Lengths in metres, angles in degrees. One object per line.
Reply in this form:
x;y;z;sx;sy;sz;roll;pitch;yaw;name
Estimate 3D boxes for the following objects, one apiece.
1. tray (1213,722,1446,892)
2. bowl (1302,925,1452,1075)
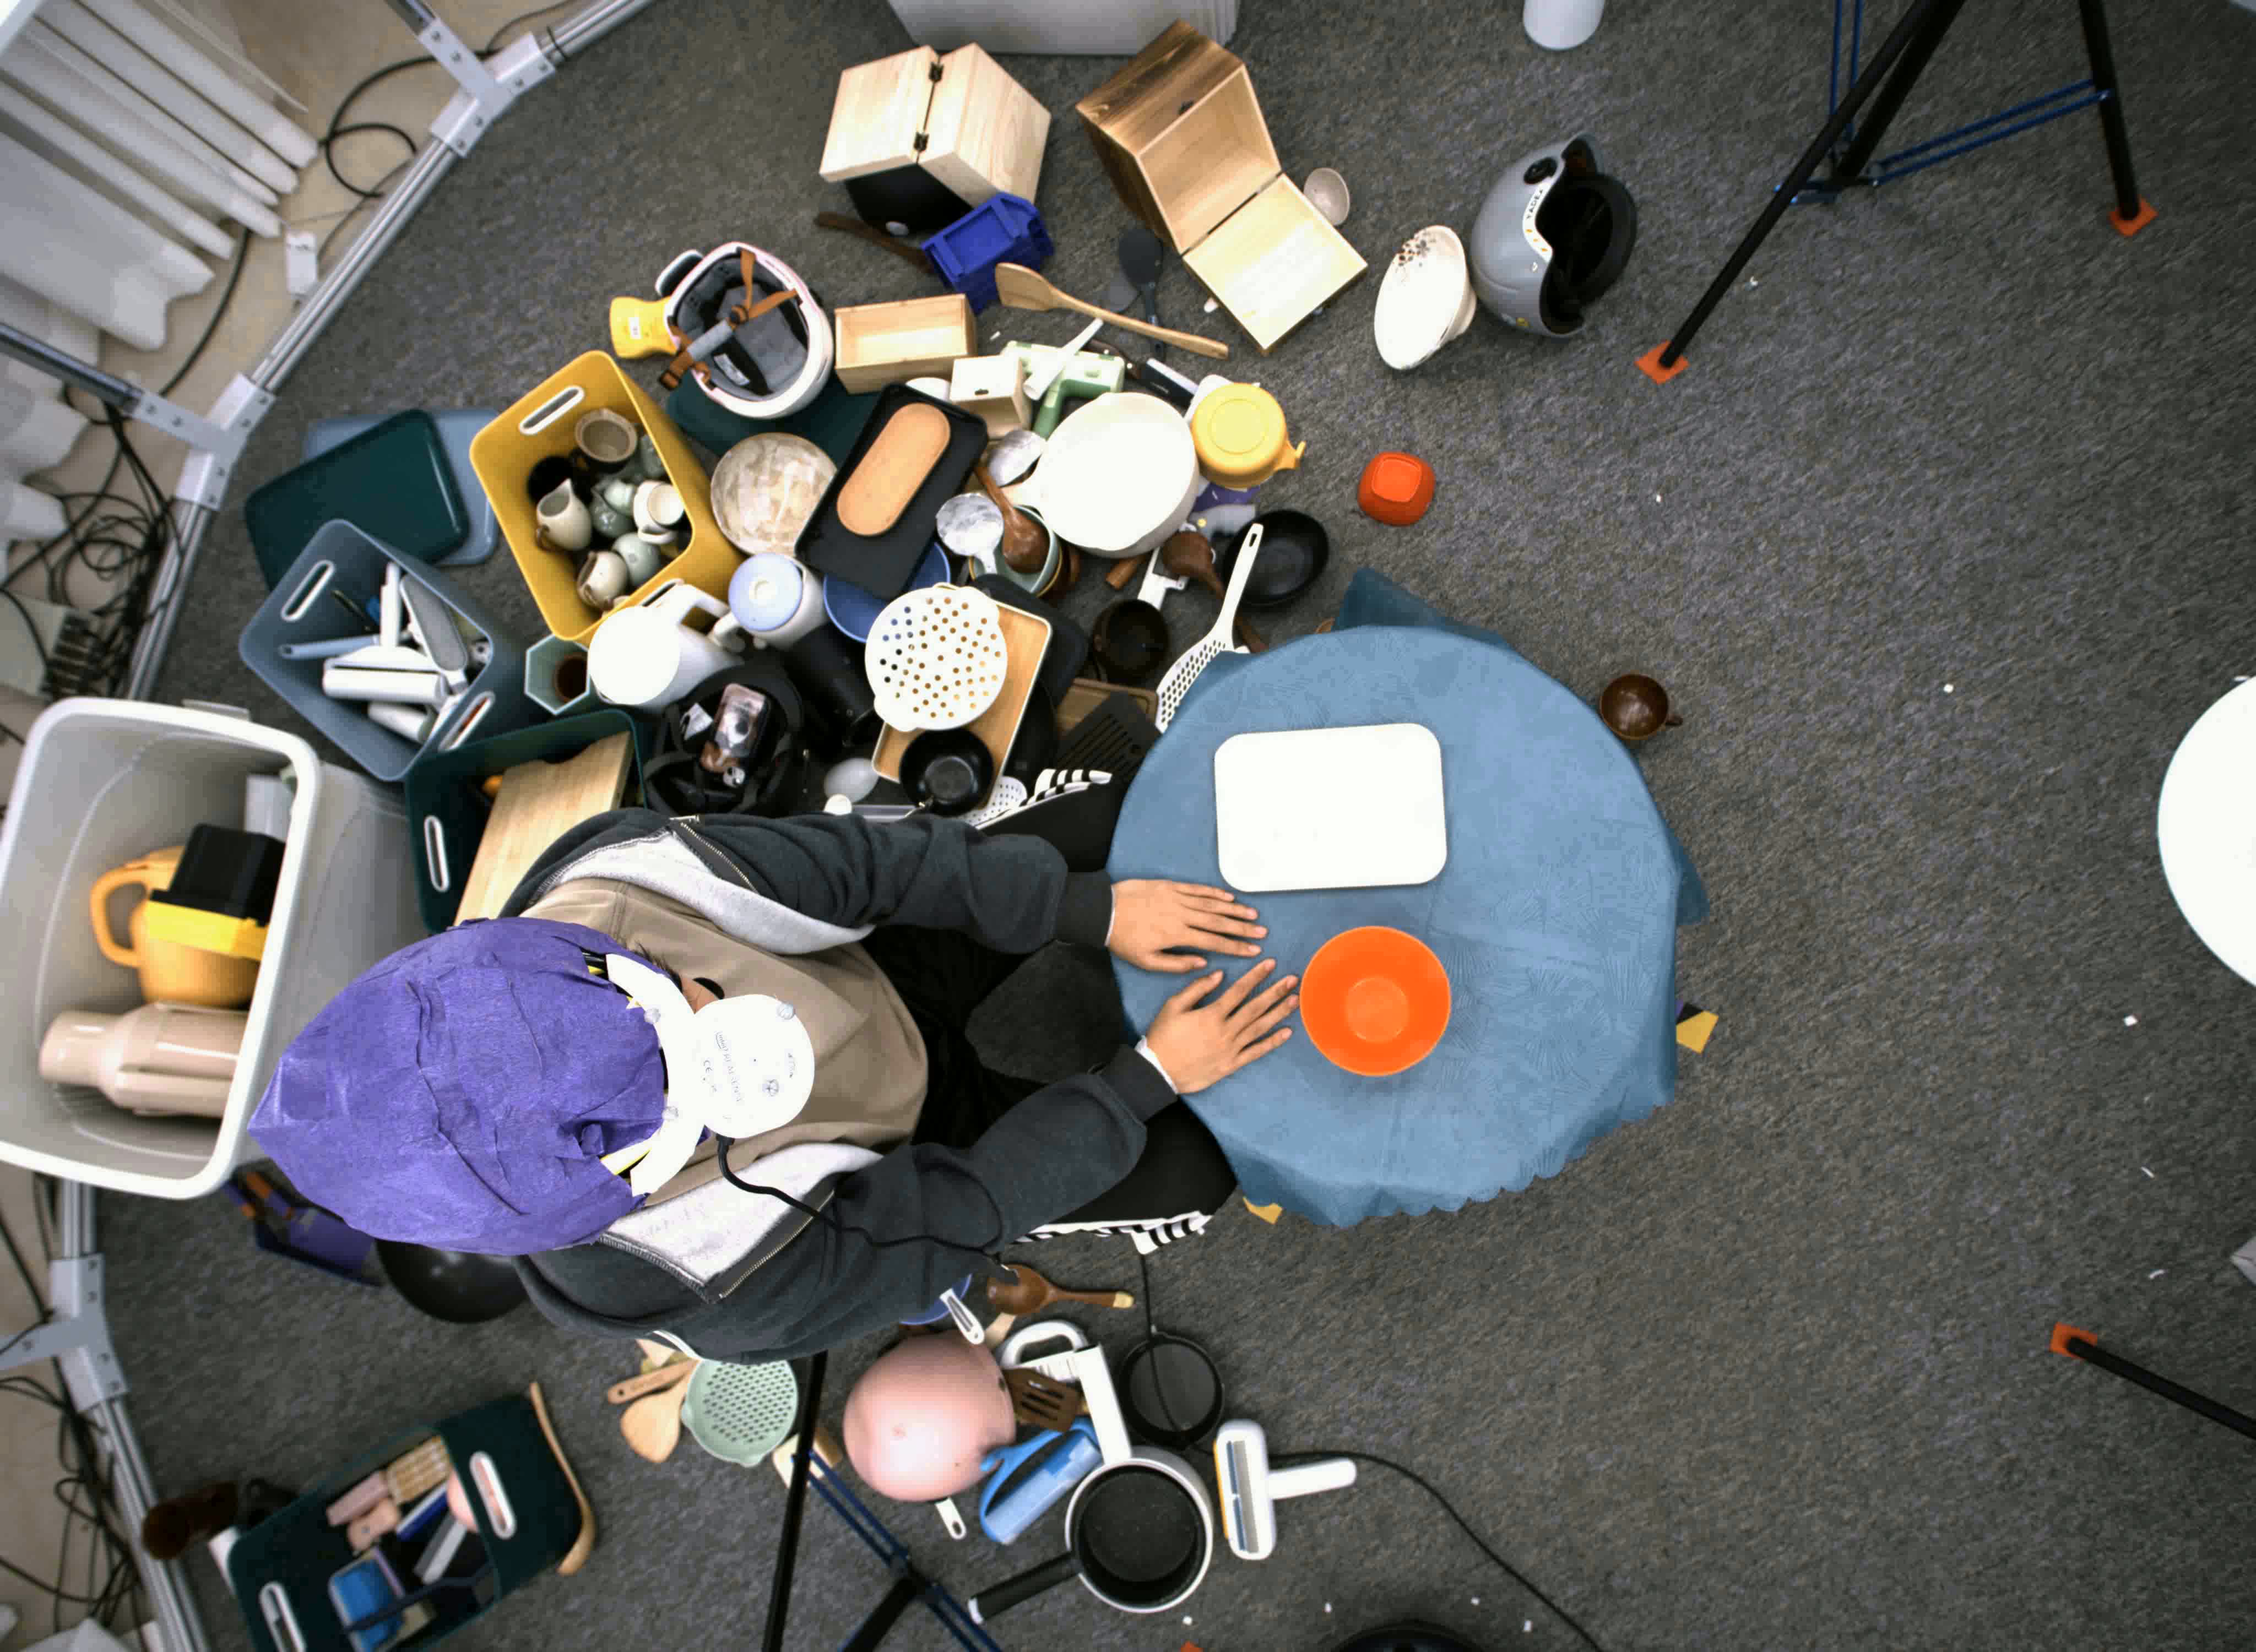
0.213;-0.020;1.466;0.241;0.017;0.170;-3;87;10;tray
0.251;0.176;1.406;0.148;0.105;0.147;-1;85;9;bowl
